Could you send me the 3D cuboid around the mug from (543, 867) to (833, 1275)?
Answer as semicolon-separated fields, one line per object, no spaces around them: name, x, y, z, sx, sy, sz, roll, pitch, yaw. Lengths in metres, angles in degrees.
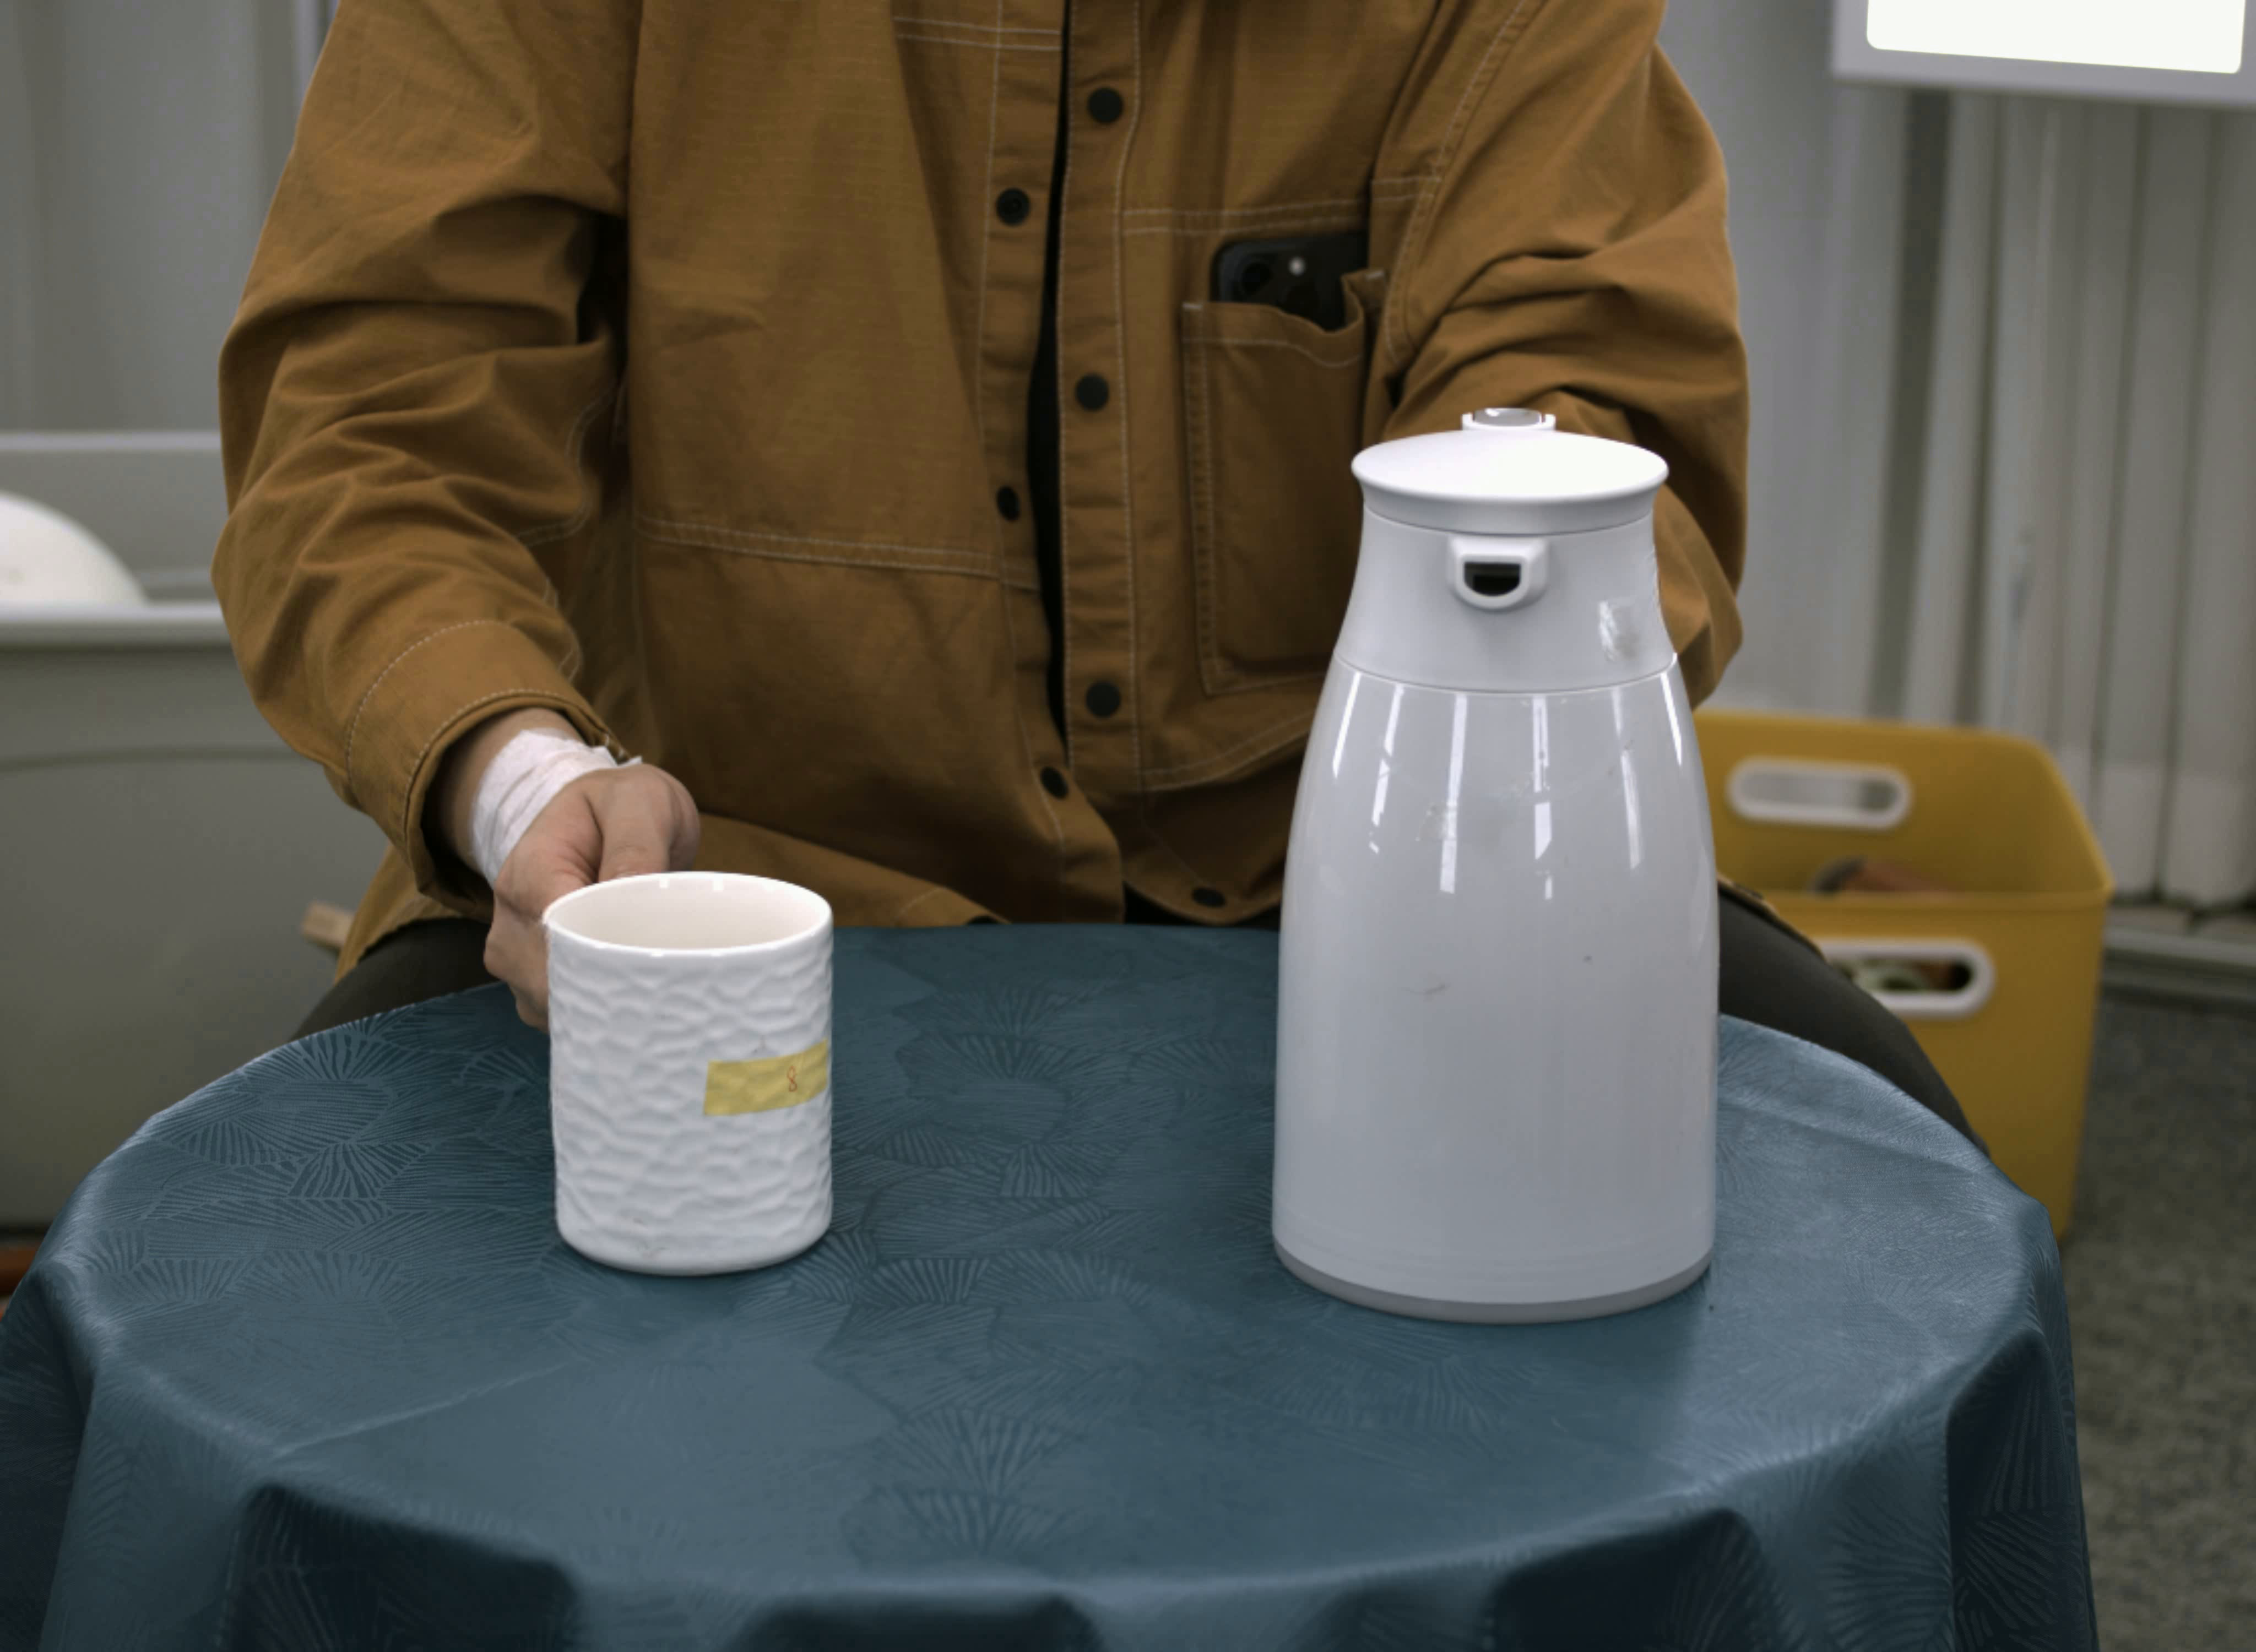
mug;-0.136;0.069;1.581;0.085;0.103;0.117;-7;17;-22

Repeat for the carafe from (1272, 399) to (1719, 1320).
carafe;0.110;0.001;1.559;0.132;0.250;0.167;1;16;6
